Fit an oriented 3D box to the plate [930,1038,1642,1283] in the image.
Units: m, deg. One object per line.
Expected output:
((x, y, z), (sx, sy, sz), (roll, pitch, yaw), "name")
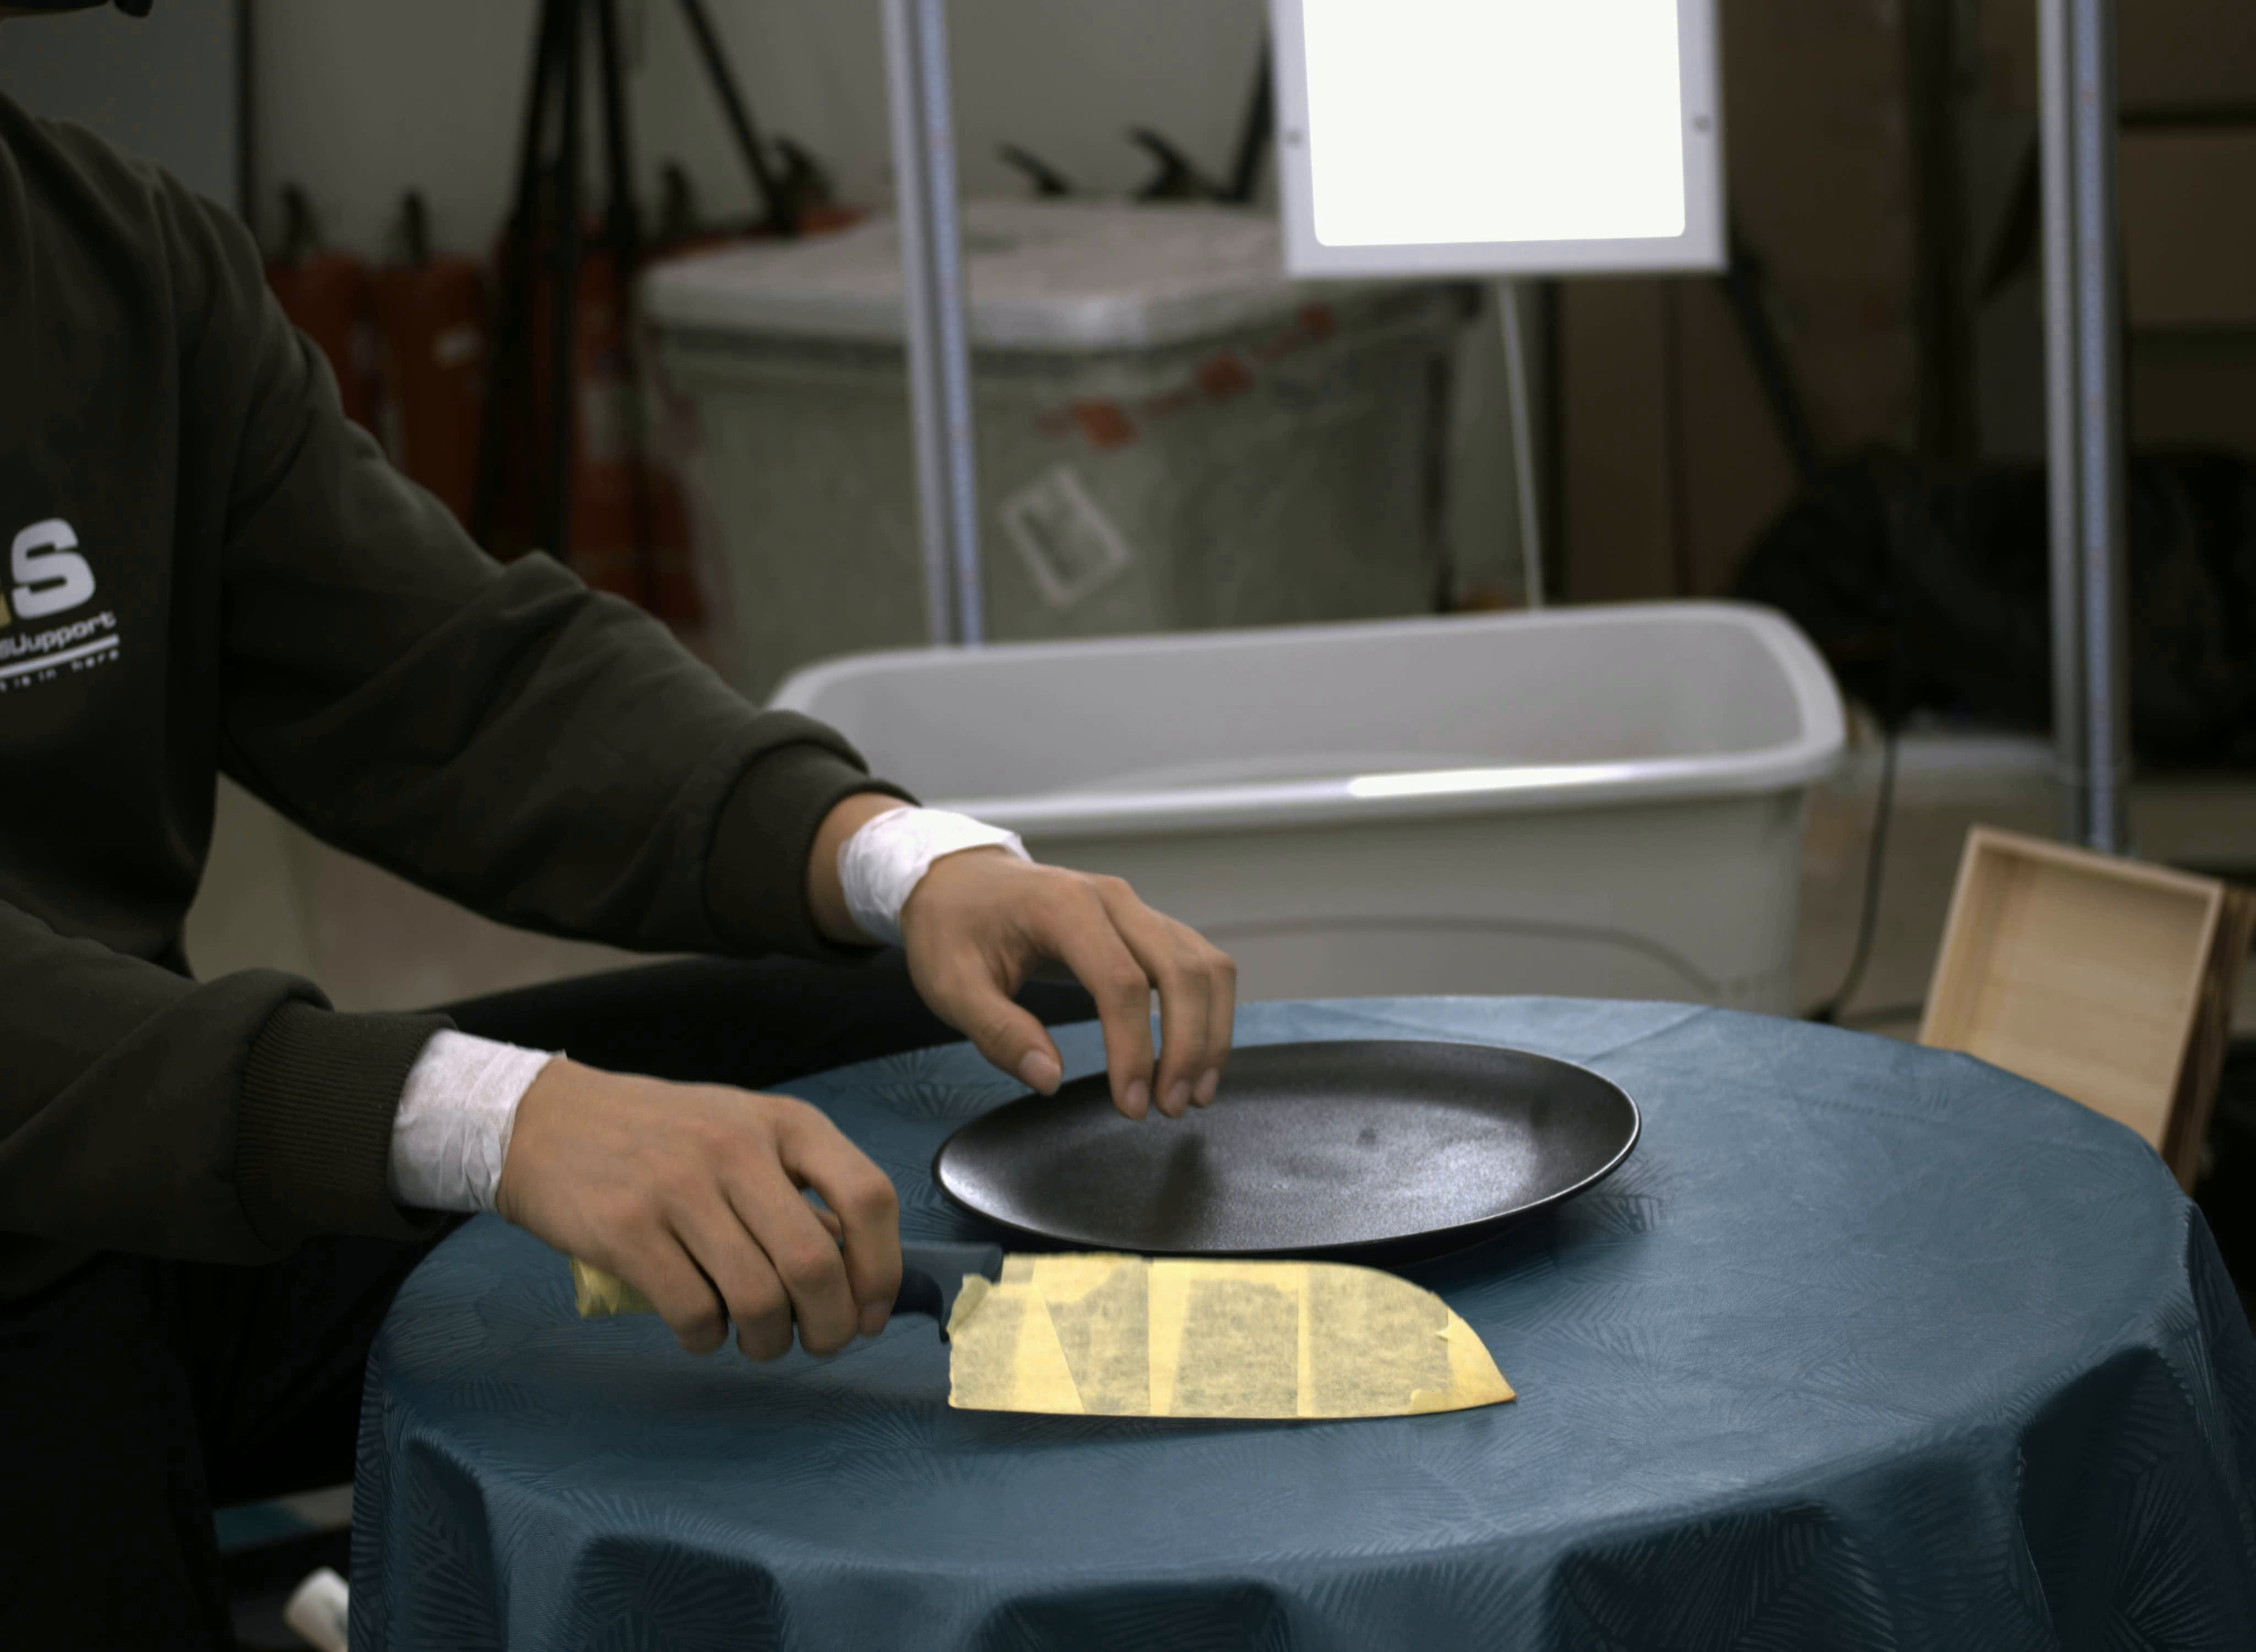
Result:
((0.055, 0.116, 1.876), (0.244, 0.023, 0.244), (-5, 14, 0), "plate")

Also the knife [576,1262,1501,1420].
((-0.029, 0.158, 1.693), (0.290, 0.027, 0.080), (1, 31, 7), "knife")
